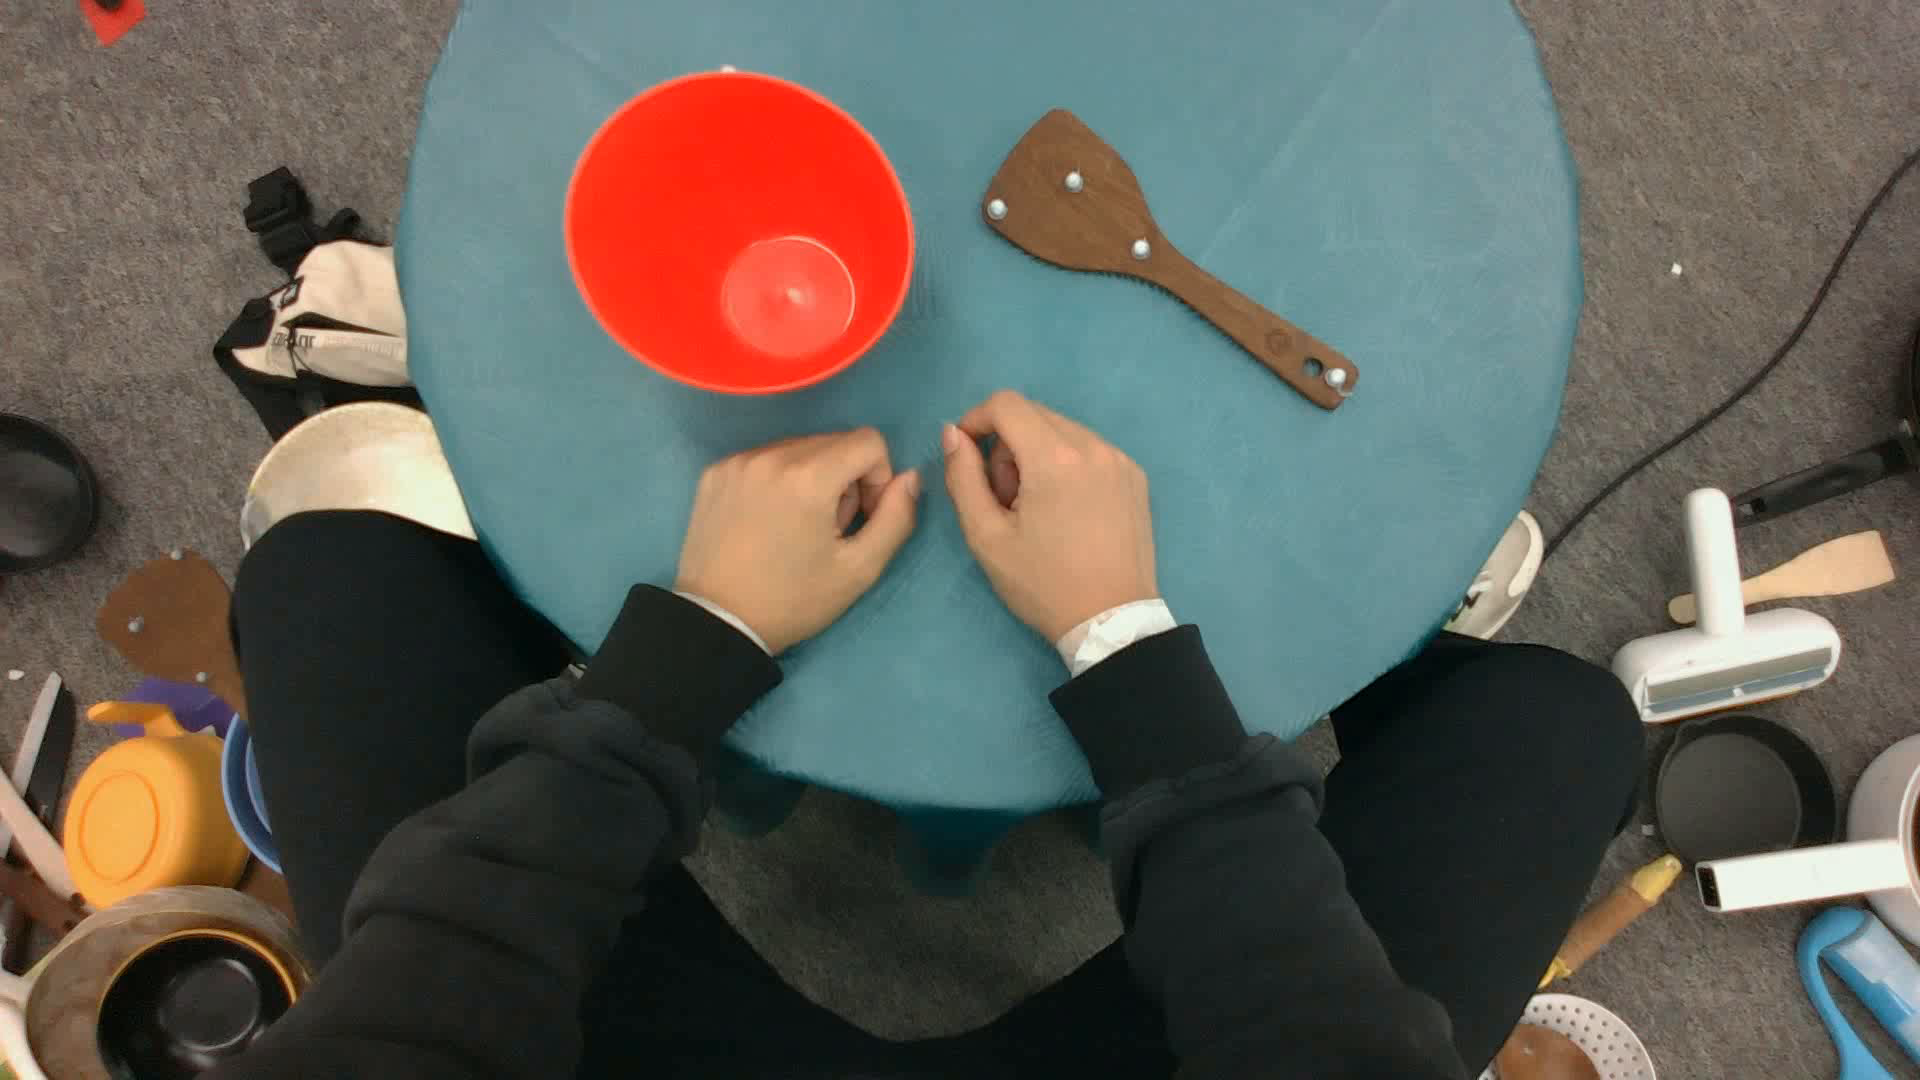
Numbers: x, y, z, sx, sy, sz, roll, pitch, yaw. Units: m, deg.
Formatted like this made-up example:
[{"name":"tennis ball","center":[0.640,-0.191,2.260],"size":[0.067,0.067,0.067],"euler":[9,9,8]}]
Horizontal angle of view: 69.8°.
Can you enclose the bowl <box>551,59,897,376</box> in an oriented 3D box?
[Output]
[{"name":"bowl","center":[-0.103,-0.136,0.642],"size":[0.148,0.104,0.148],"euler":[0,80,-2]}]

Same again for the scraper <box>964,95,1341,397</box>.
[{"name":"scraper","center":[0.102,-0.141,0.698],"size":[0.211,0.011,0.076],"euler":[36,82,3]}]
